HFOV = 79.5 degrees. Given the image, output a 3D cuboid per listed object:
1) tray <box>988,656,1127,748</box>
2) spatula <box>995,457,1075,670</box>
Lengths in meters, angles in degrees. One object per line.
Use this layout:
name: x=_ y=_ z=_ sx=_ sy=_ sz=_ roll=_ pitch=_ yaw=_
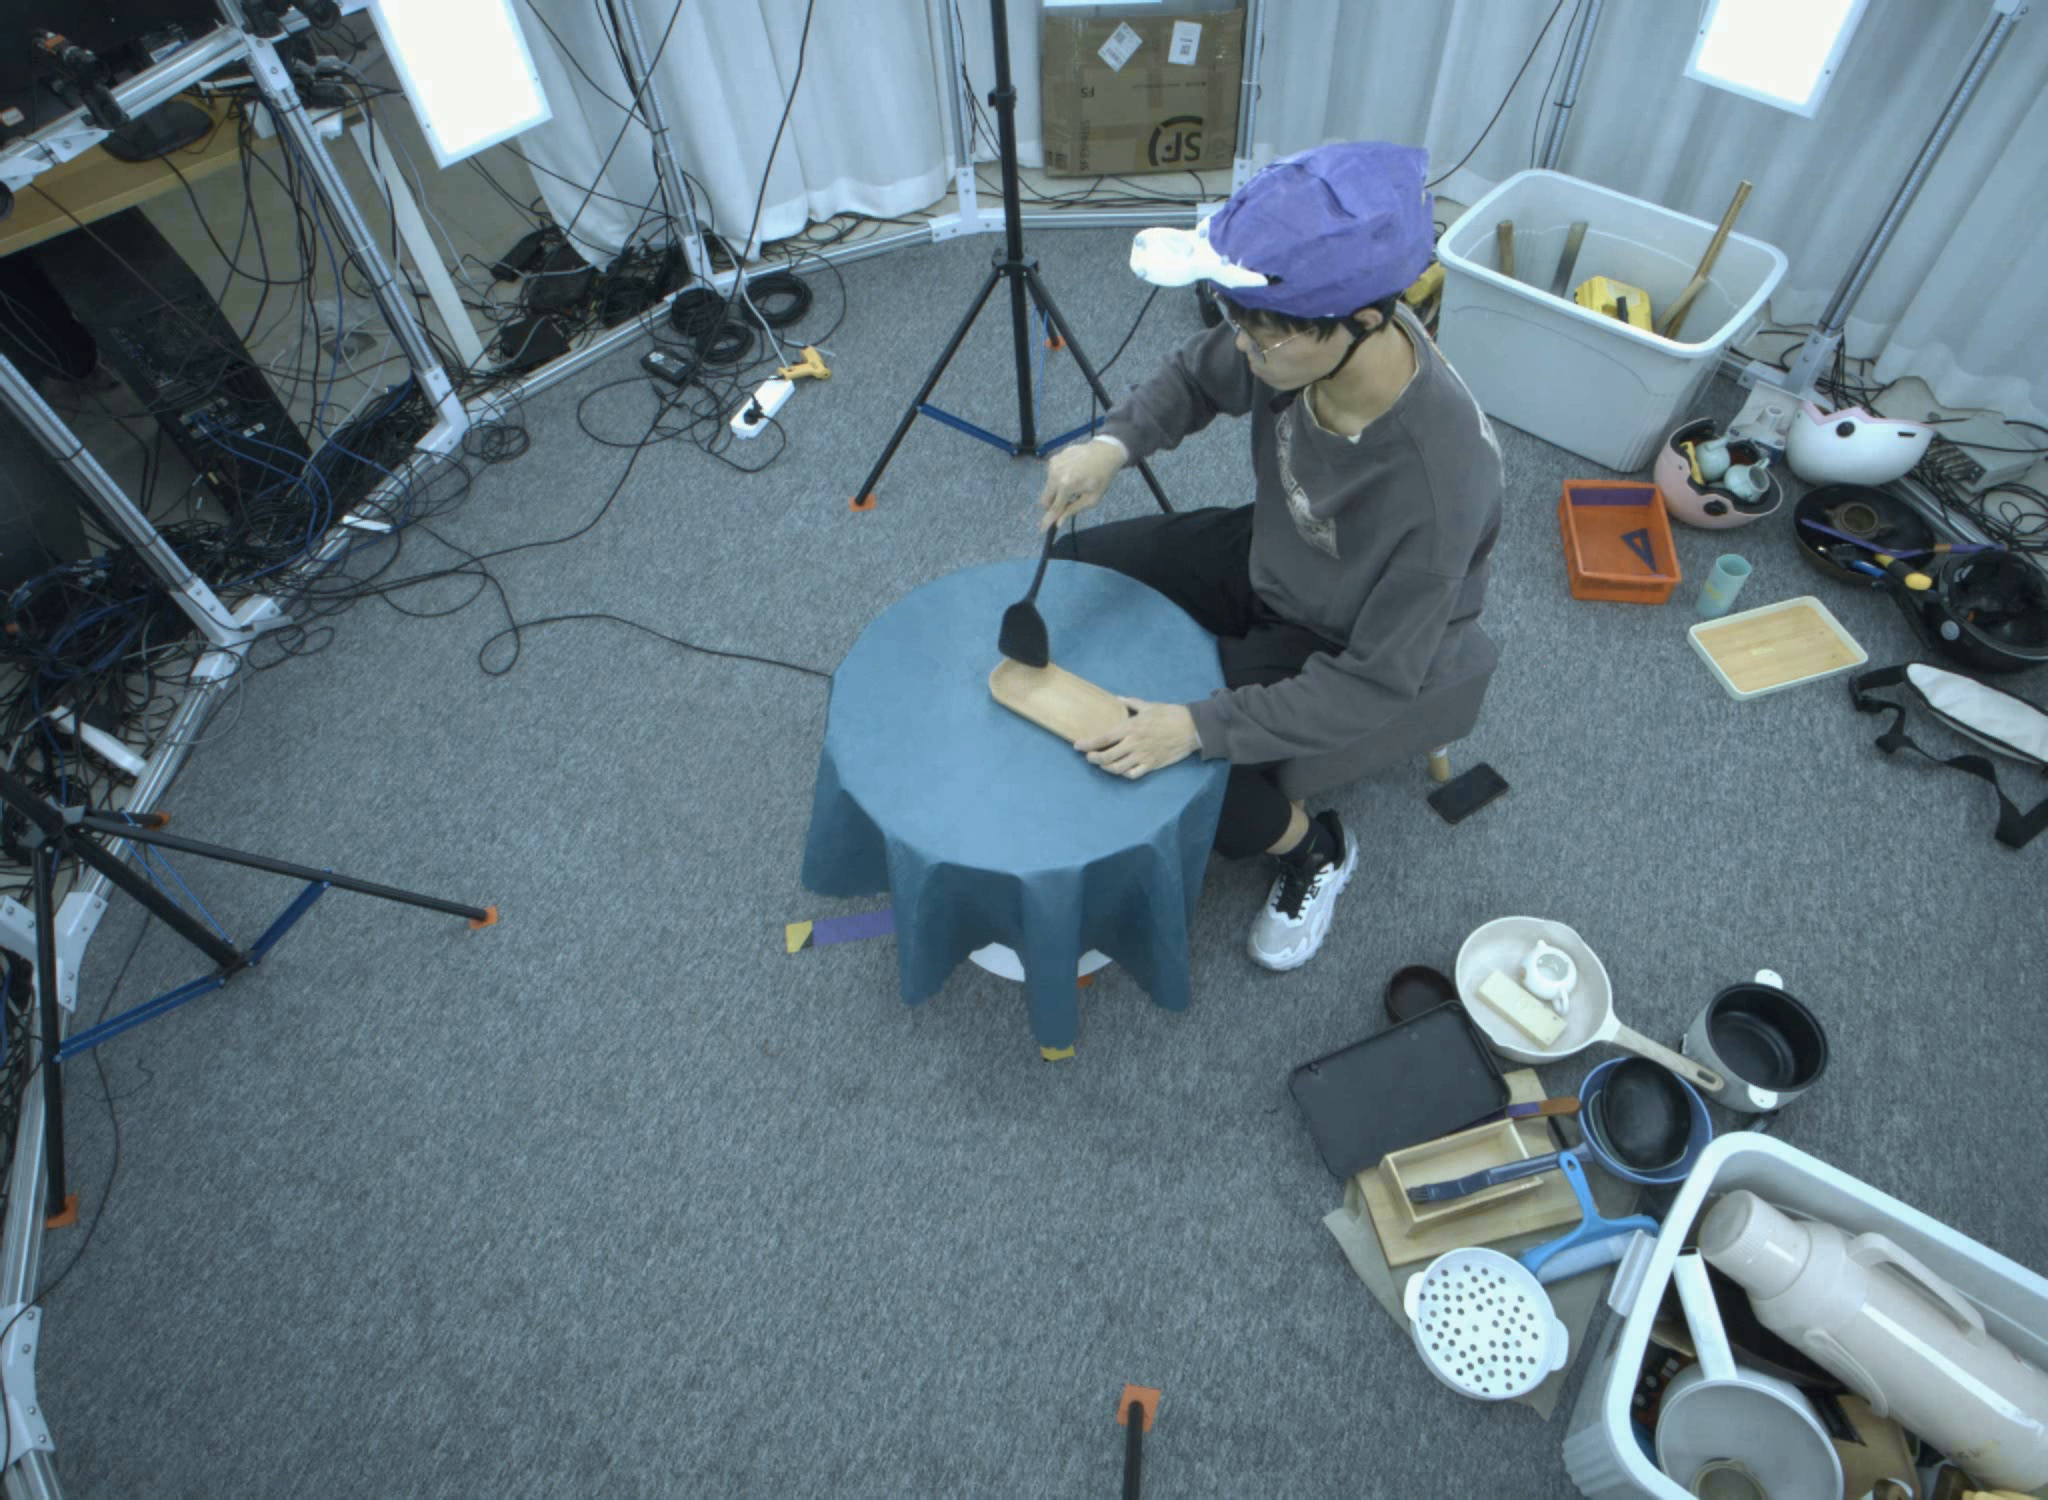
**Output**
tray: x=0.048 y=-0.073 z=1.826 sx=0.227 sy=0.020 sz=0.102 roll=28 pitch=59 yaw=22
spatula: x=0.030 y=-0.283 z=1.820 sx=0.039 sy=0.102 sz=0.326 roll=17 pitch=89 yaw=50
